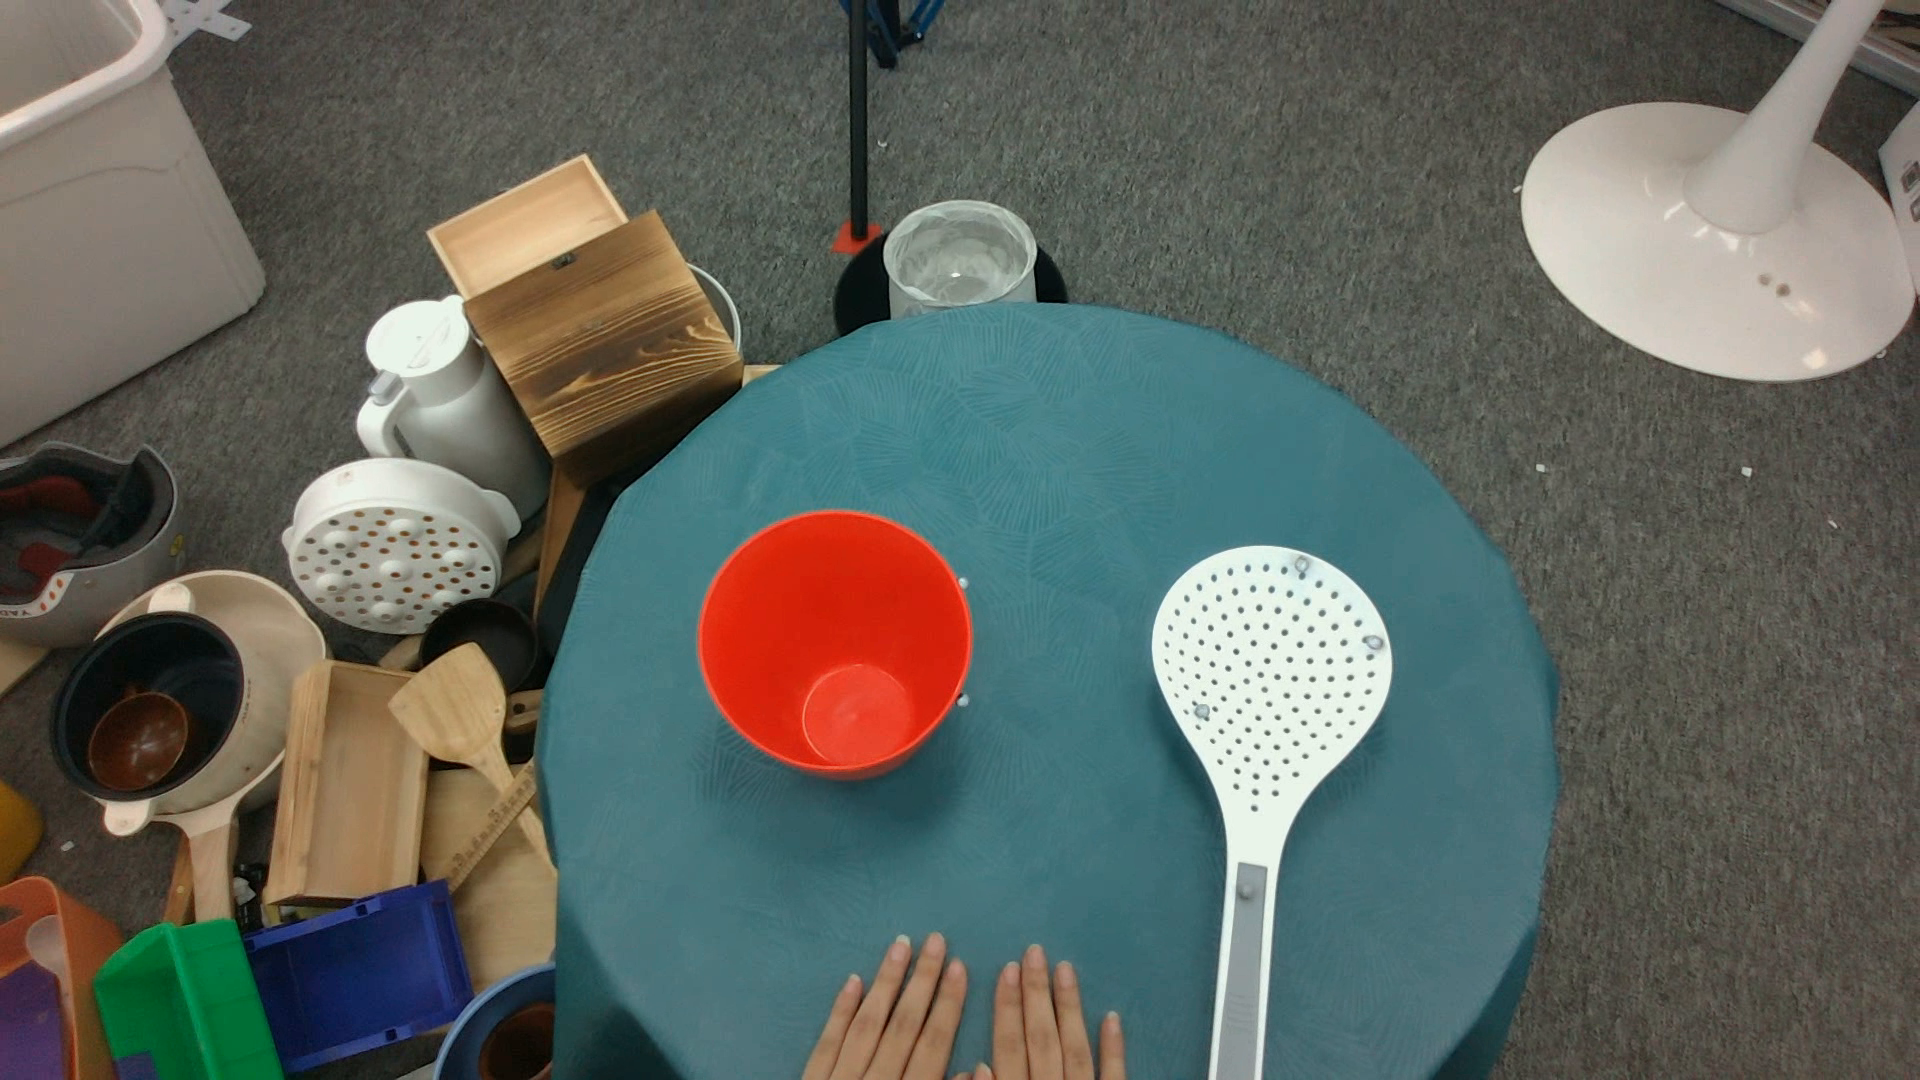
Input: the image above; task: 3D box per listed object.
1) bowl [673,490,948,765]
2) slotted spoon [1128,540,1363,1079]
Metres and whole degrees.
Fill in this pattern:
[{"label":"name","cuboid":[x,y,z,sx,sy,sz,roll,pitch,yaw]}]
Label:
[{"label":"bowl","cuboid":[-0.084,0.061,0.774,0.148,0.104,0.148,4,57,-7]},{"label":"slotted spoon","cuboid":[0.146,0.159,0.757,0.136,0.045,0.351,9,59,6]}]
